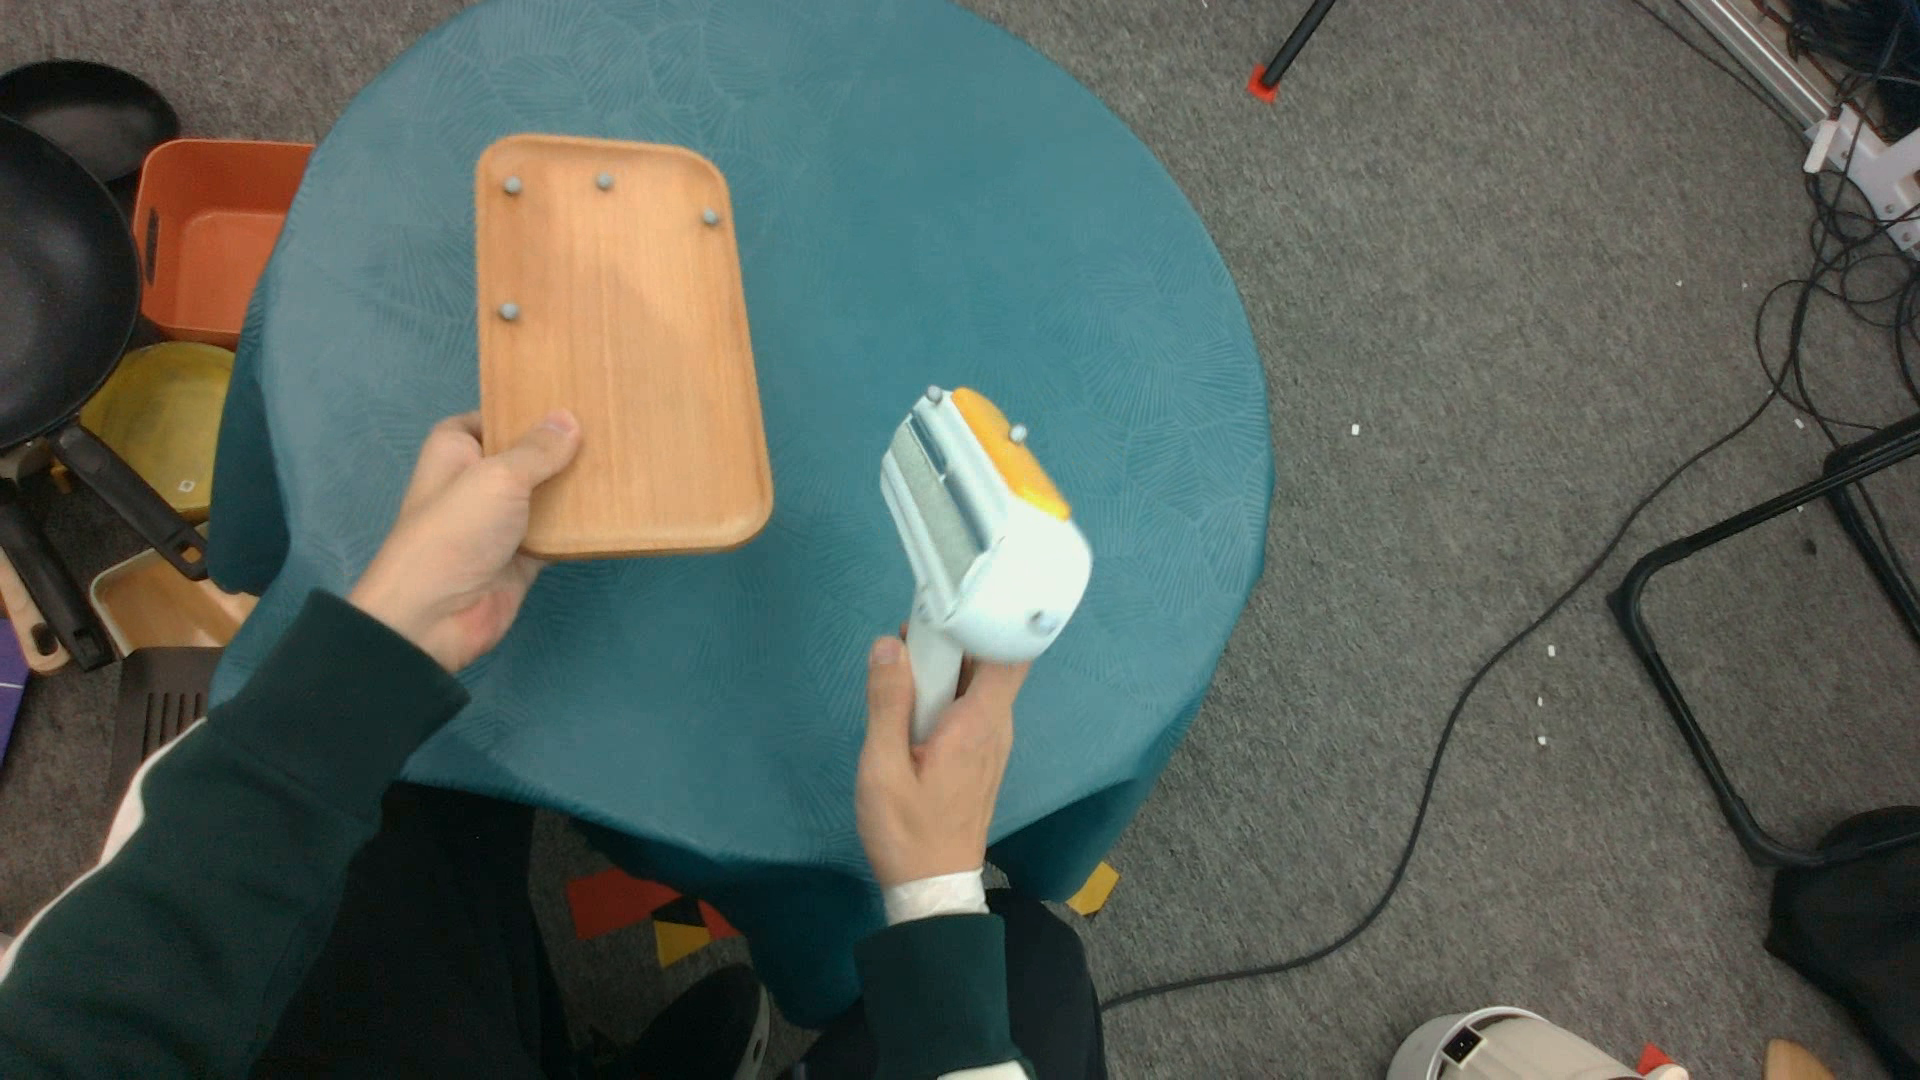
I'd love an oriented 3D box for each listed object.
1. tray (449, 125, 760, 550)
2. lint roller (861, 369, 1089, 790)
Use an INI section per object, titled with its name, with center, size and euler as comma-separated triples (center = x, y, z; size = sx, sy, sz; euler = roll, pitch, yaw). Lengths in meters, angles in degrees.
[tray]
center = -0.176, -0.105, 0.670
size = 0.131, 0.023, 0.251
euler = -5, 62, -17
[lint roller]
center = -0.016, 0.034, 0.640
size = 0.074, 0.191, 0.193
euler = 16, 24, -25
